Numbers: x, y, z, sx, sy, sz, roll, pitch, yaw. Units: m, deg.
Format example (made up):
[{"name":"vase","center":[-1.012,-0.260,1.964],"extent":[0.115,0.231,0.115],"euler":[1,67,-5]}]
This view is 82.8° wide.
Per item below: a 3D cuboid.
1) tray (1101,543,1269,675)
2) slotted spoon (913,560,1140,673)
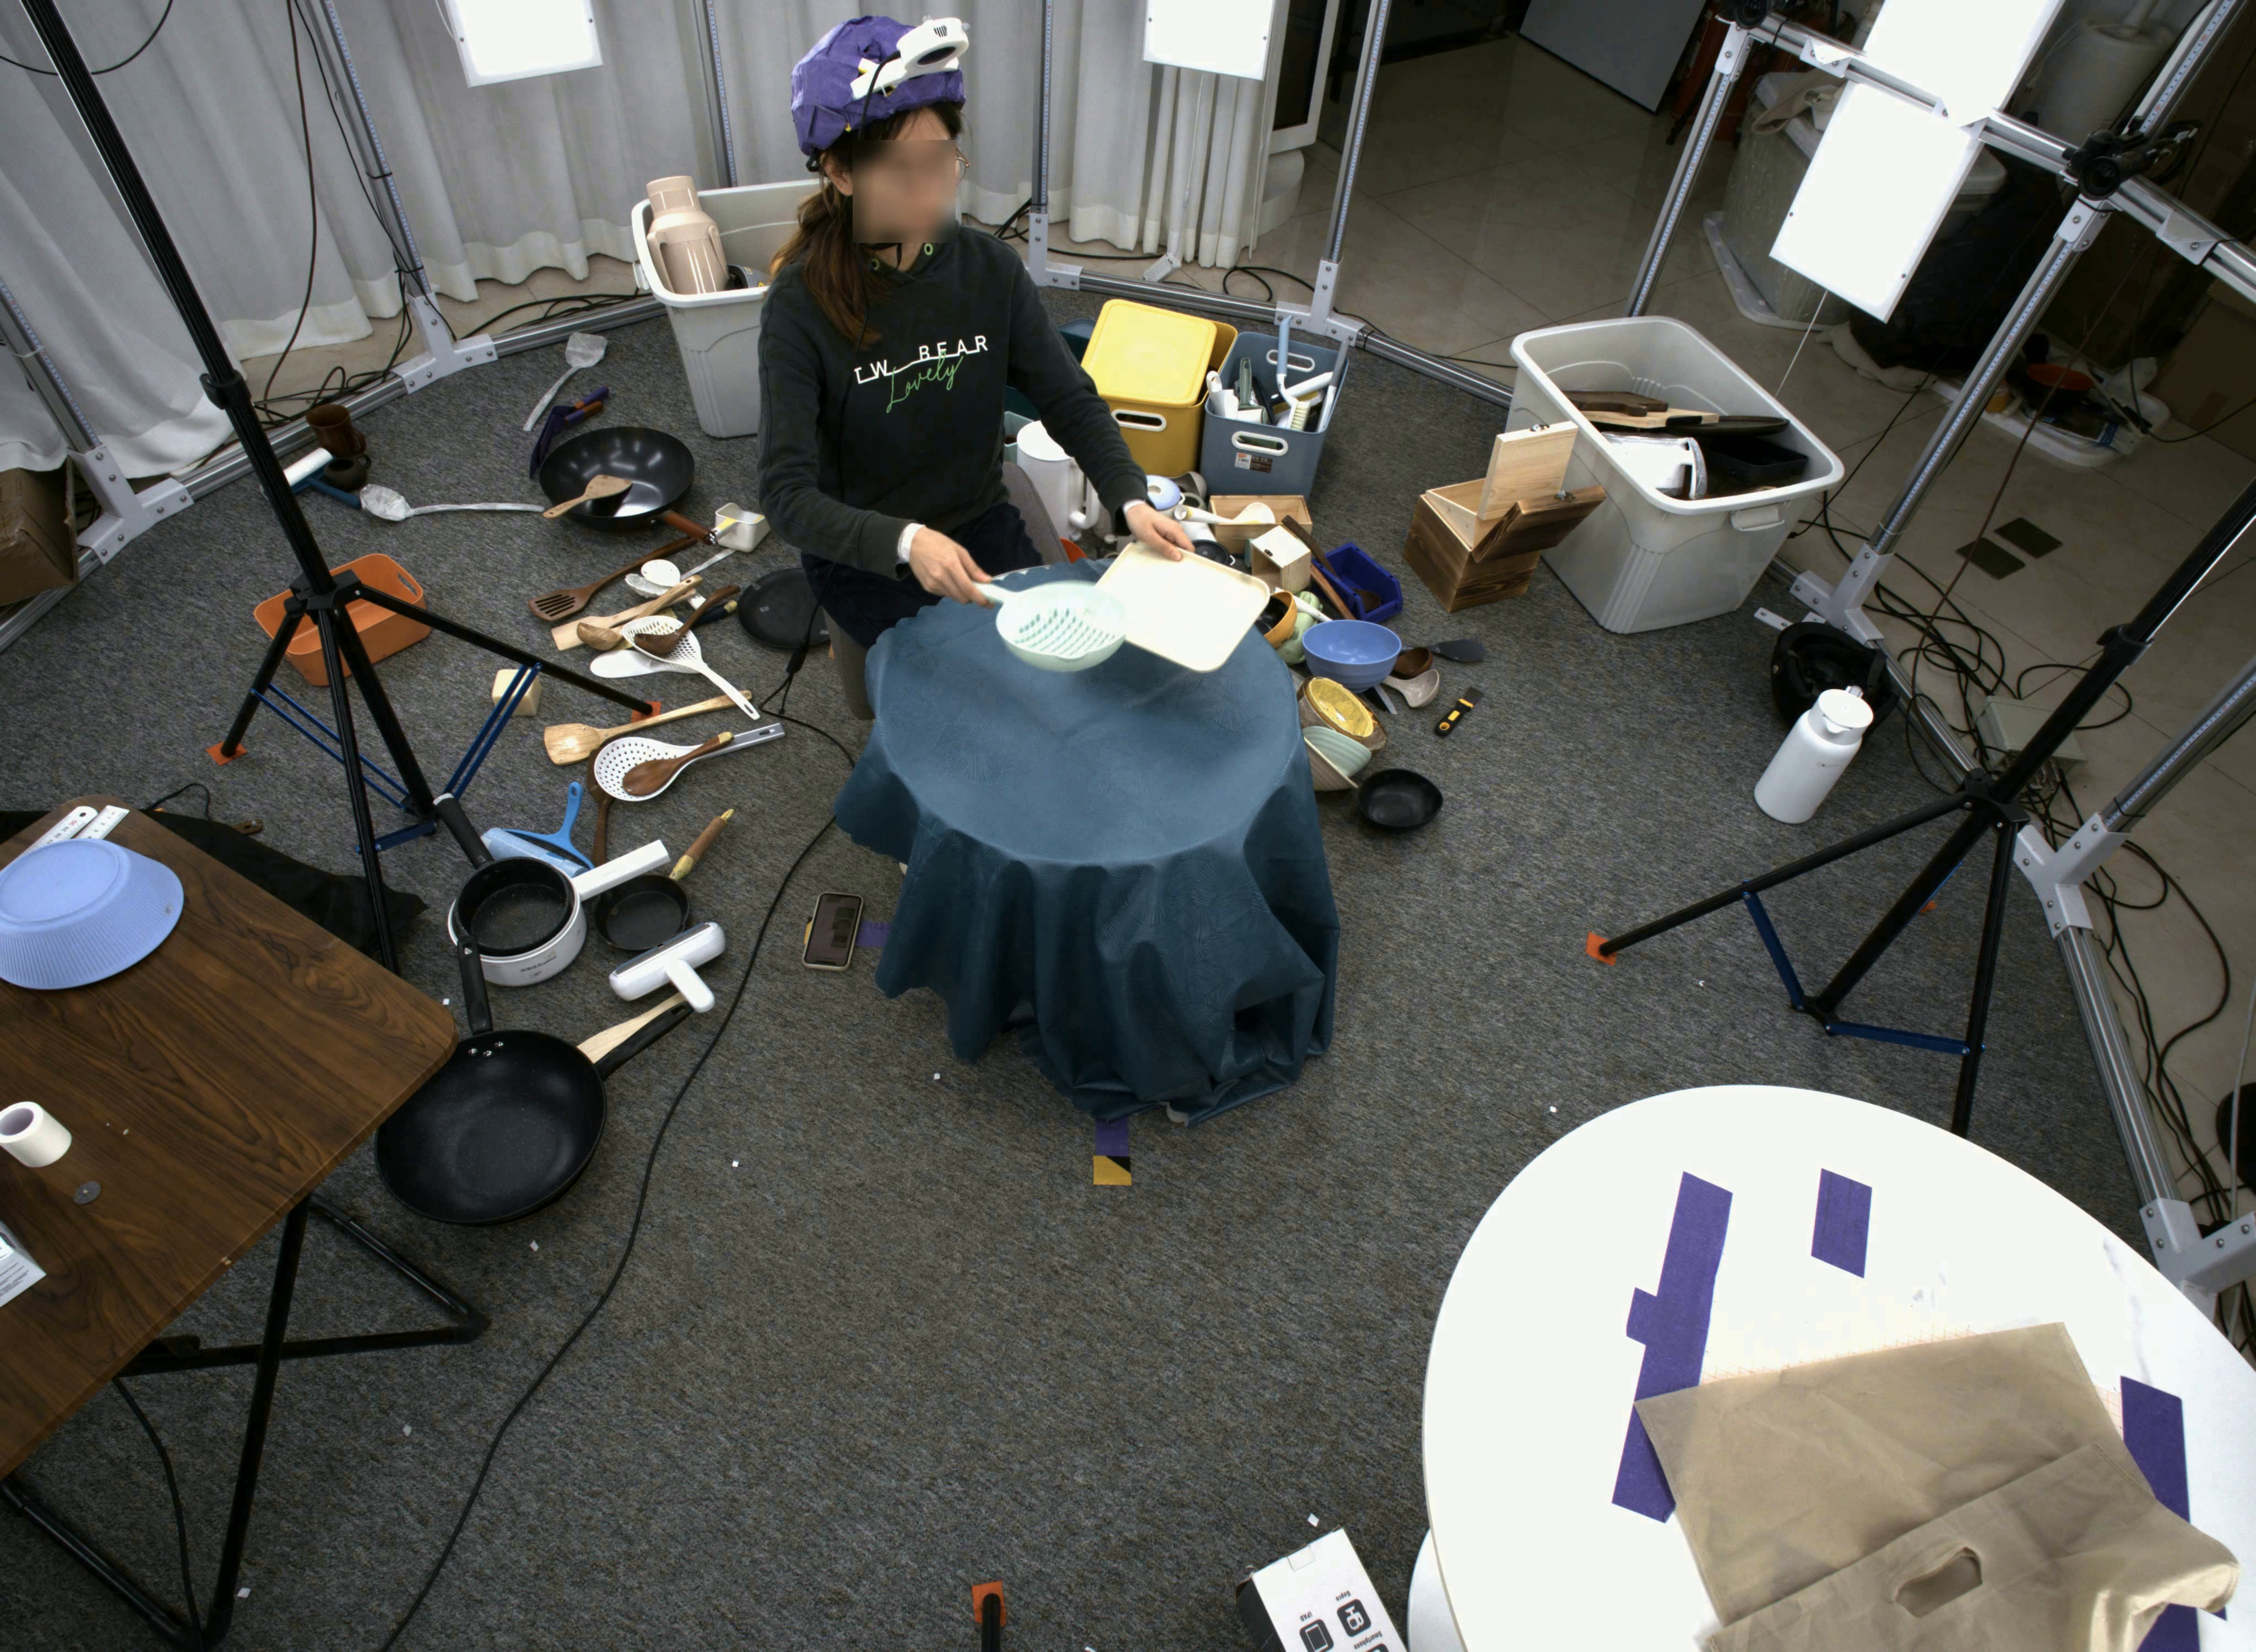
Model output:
[{"name":"tray","center":[0.066,-0.305,1.803],"extent":[0.242,0.017,0.173],"euler":[26,68,28]},{"name":"slotted spoon","center":[-0.153,-0.293,1.686],"extent":[0.363,0.073,0.171],"euler":[31,52,24]}]
